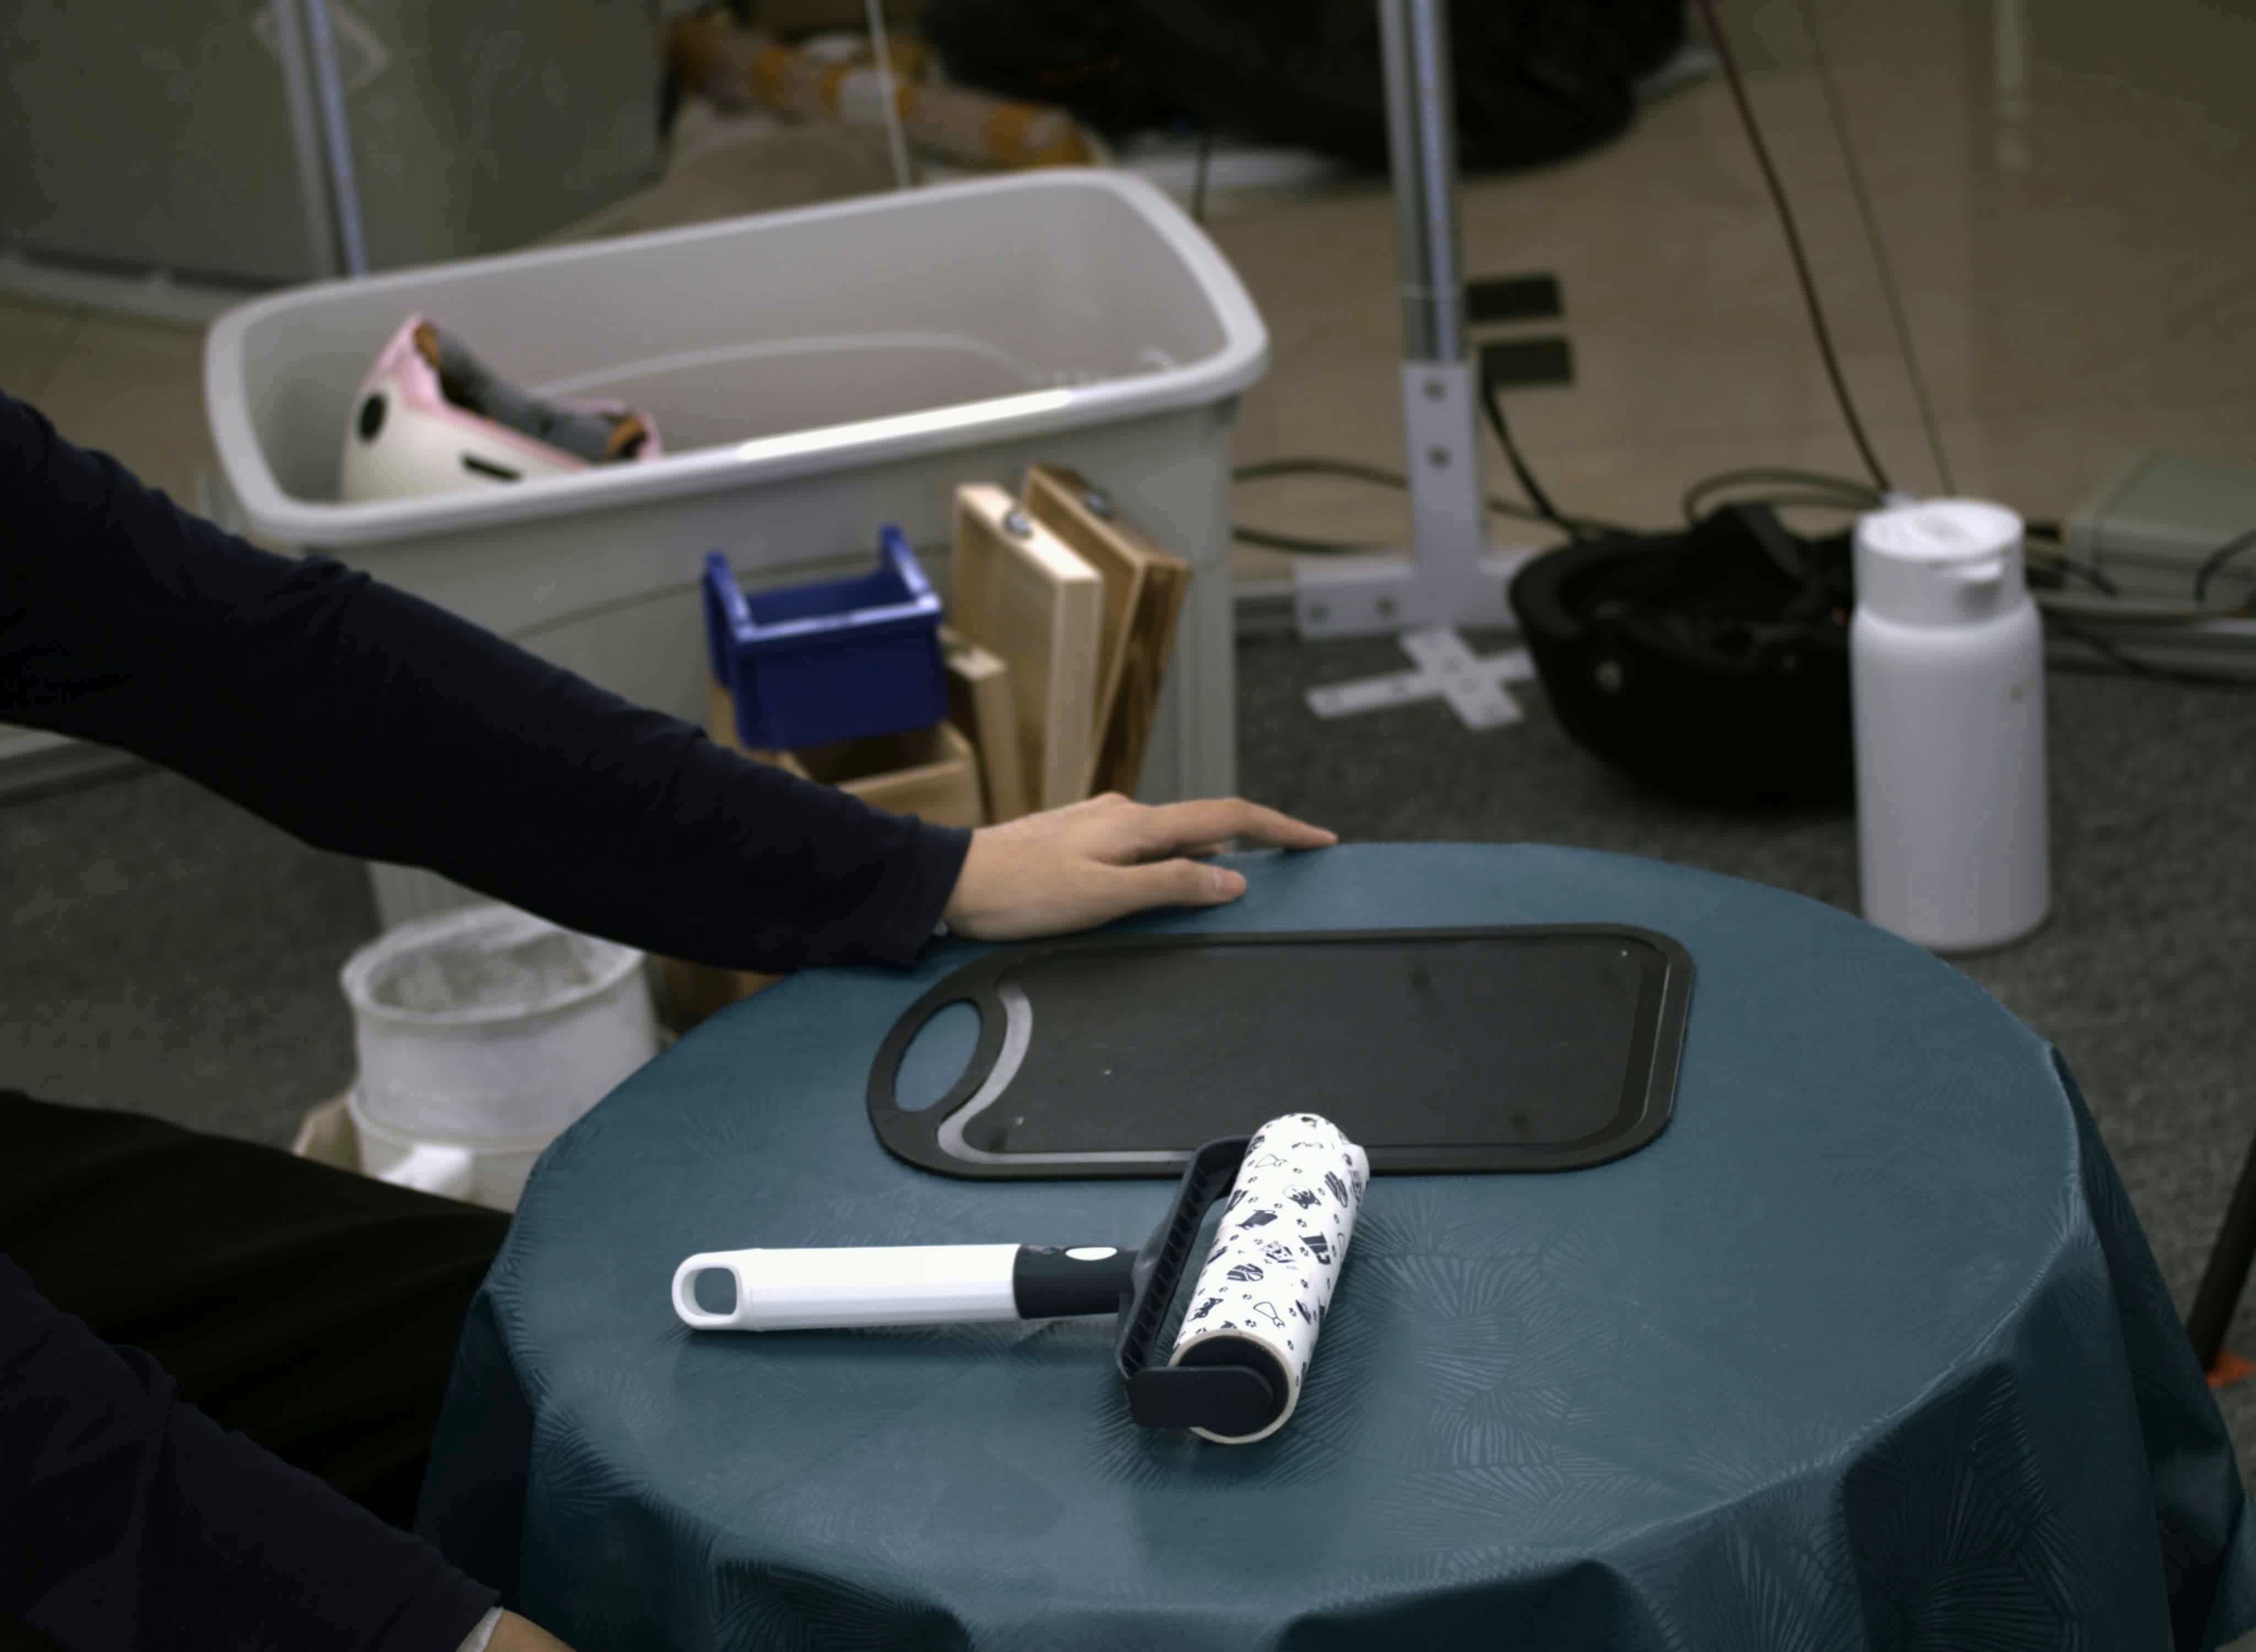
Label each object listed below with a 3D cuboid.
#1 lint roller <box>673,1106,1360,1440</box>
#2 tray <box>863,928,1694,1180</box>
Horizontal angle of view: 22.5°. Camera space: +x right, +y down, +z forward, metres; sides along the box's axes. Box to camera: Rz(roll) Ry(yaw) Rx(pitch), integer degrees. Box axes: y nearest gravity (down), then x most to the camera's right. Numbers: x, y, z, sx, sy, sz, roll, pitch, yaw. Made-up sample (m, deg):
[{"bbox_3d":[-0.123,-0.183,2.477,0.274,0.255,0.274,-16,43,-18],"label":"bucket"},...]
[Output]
[{"bbox_3d":[-0.048,0.165,2.058,0.246,0.051,0.173,-3,26,13],"label":"lint roller"},{"bbox_3d":[0.056,0.087,2.242,0.325,0.010,0.208,-1,25,12],"label":"tray"}]
